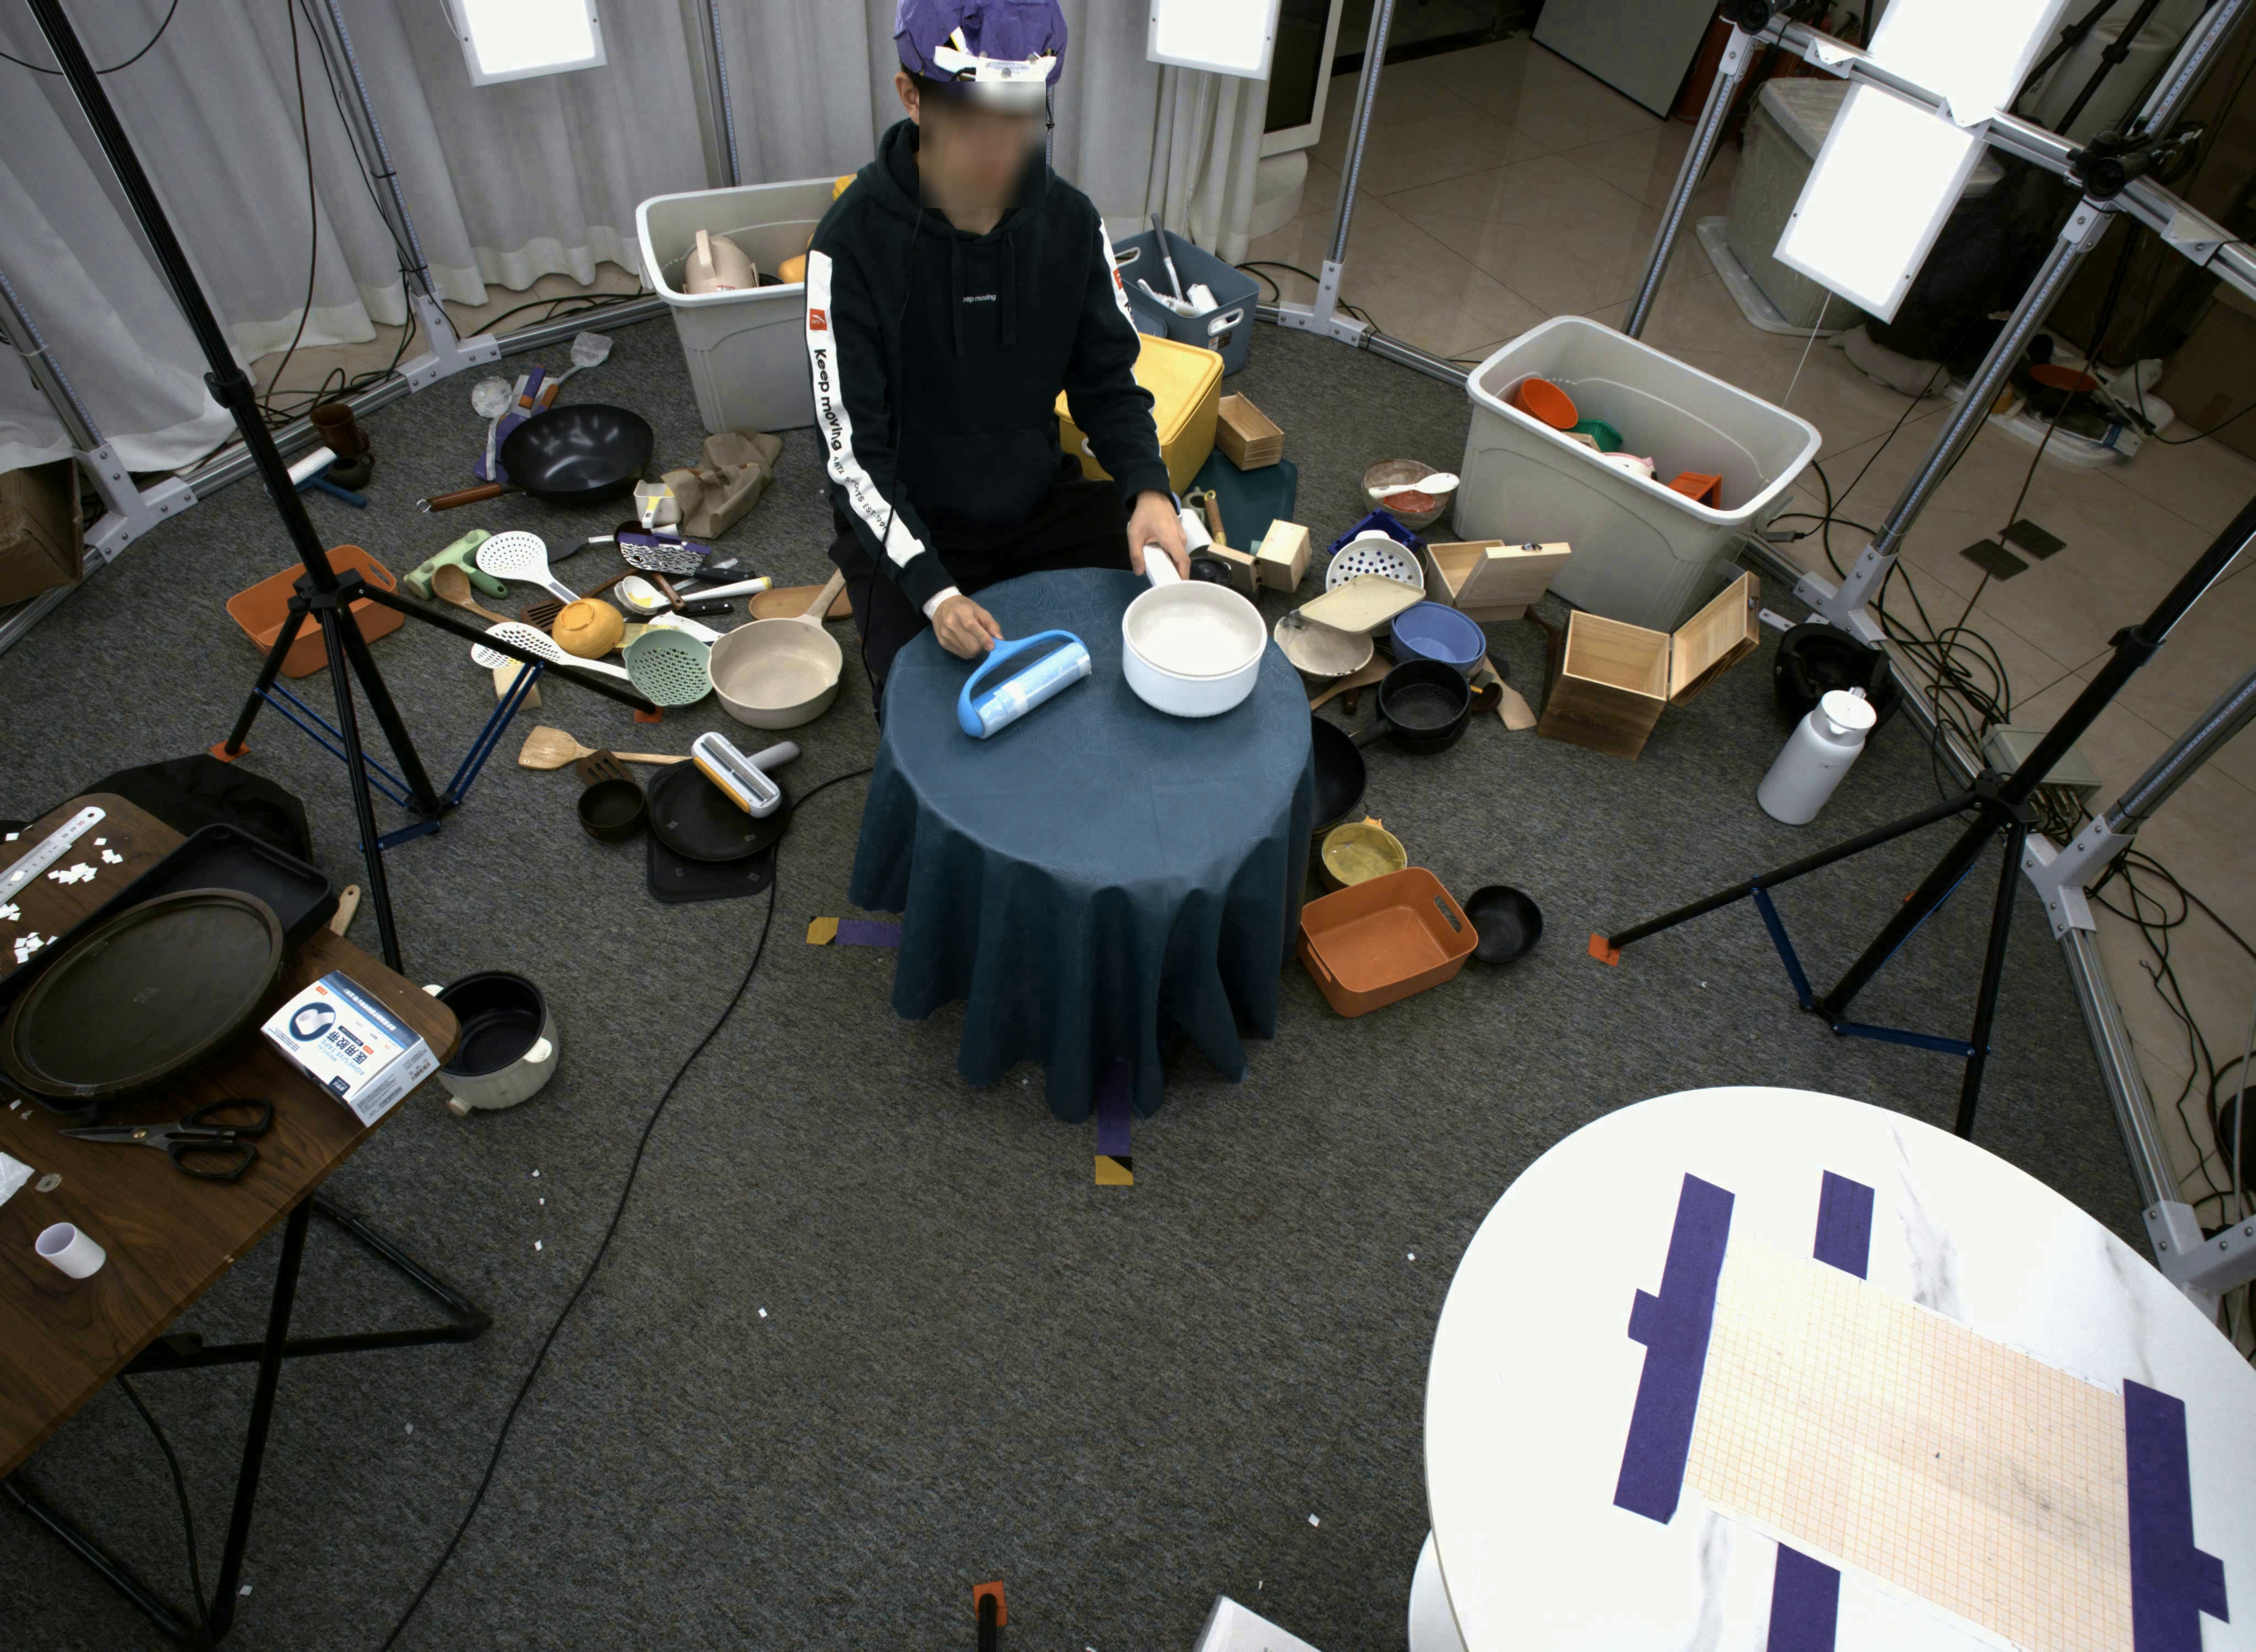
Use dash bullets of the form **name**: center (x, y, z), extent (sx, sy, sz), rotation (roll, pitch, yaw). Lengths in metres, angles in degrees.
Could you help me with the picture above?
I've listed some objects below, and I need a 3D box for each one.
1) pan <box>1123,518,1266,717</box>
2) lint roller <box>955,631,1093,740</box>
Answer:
- **pan**: center (0.069, -0.304, 1.871), extent (0.201, 0.099, 0.363), rotation (-11, 50, -12)
- **lint roller**: center (-0.179, -0.228, 1.808), extent (0.182, 0.066, 0.231), rotation (41, 60, 18)
